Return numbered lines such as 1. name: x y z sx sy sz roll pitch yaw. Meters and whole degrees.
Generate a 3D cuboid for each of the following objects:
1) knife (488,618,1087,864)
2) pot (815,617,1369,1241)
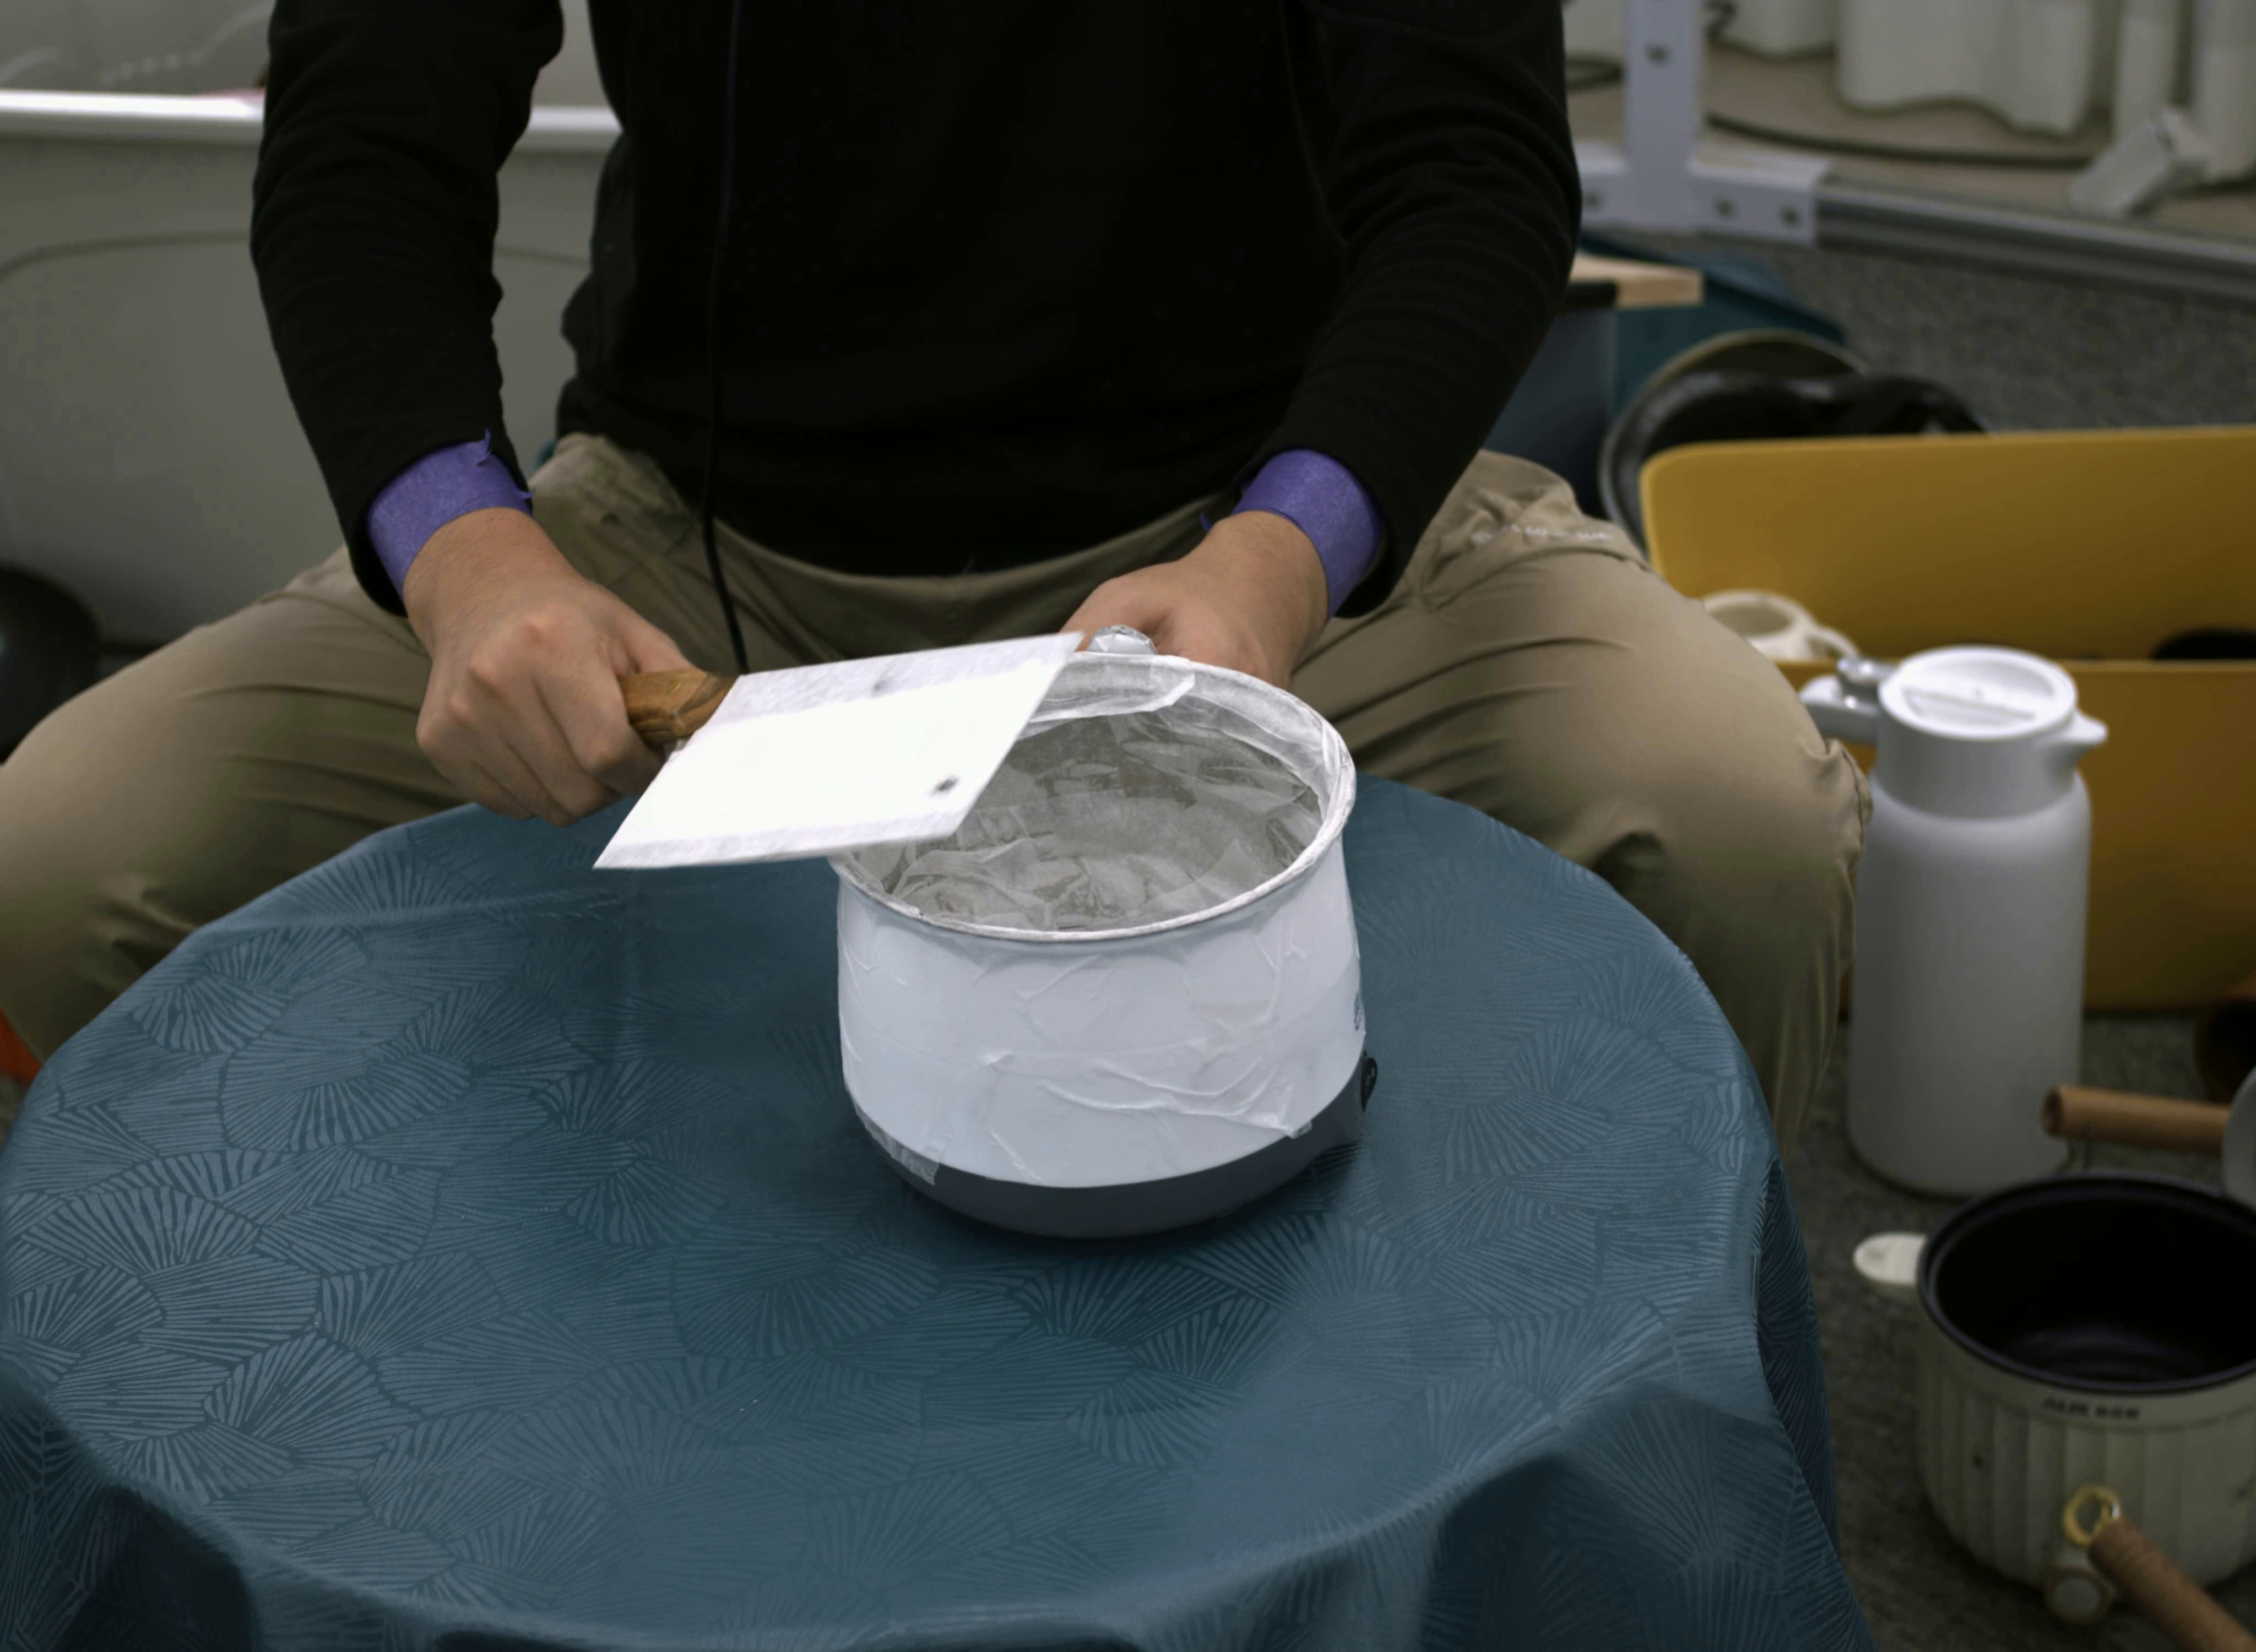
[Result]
1. knife: -0.131 -0.024 1.892 0.302 0.021 0.094 -7 40 48
2. pot: -0.008 0.026 1.883 0.178 0.135 0.238 0 32 5
